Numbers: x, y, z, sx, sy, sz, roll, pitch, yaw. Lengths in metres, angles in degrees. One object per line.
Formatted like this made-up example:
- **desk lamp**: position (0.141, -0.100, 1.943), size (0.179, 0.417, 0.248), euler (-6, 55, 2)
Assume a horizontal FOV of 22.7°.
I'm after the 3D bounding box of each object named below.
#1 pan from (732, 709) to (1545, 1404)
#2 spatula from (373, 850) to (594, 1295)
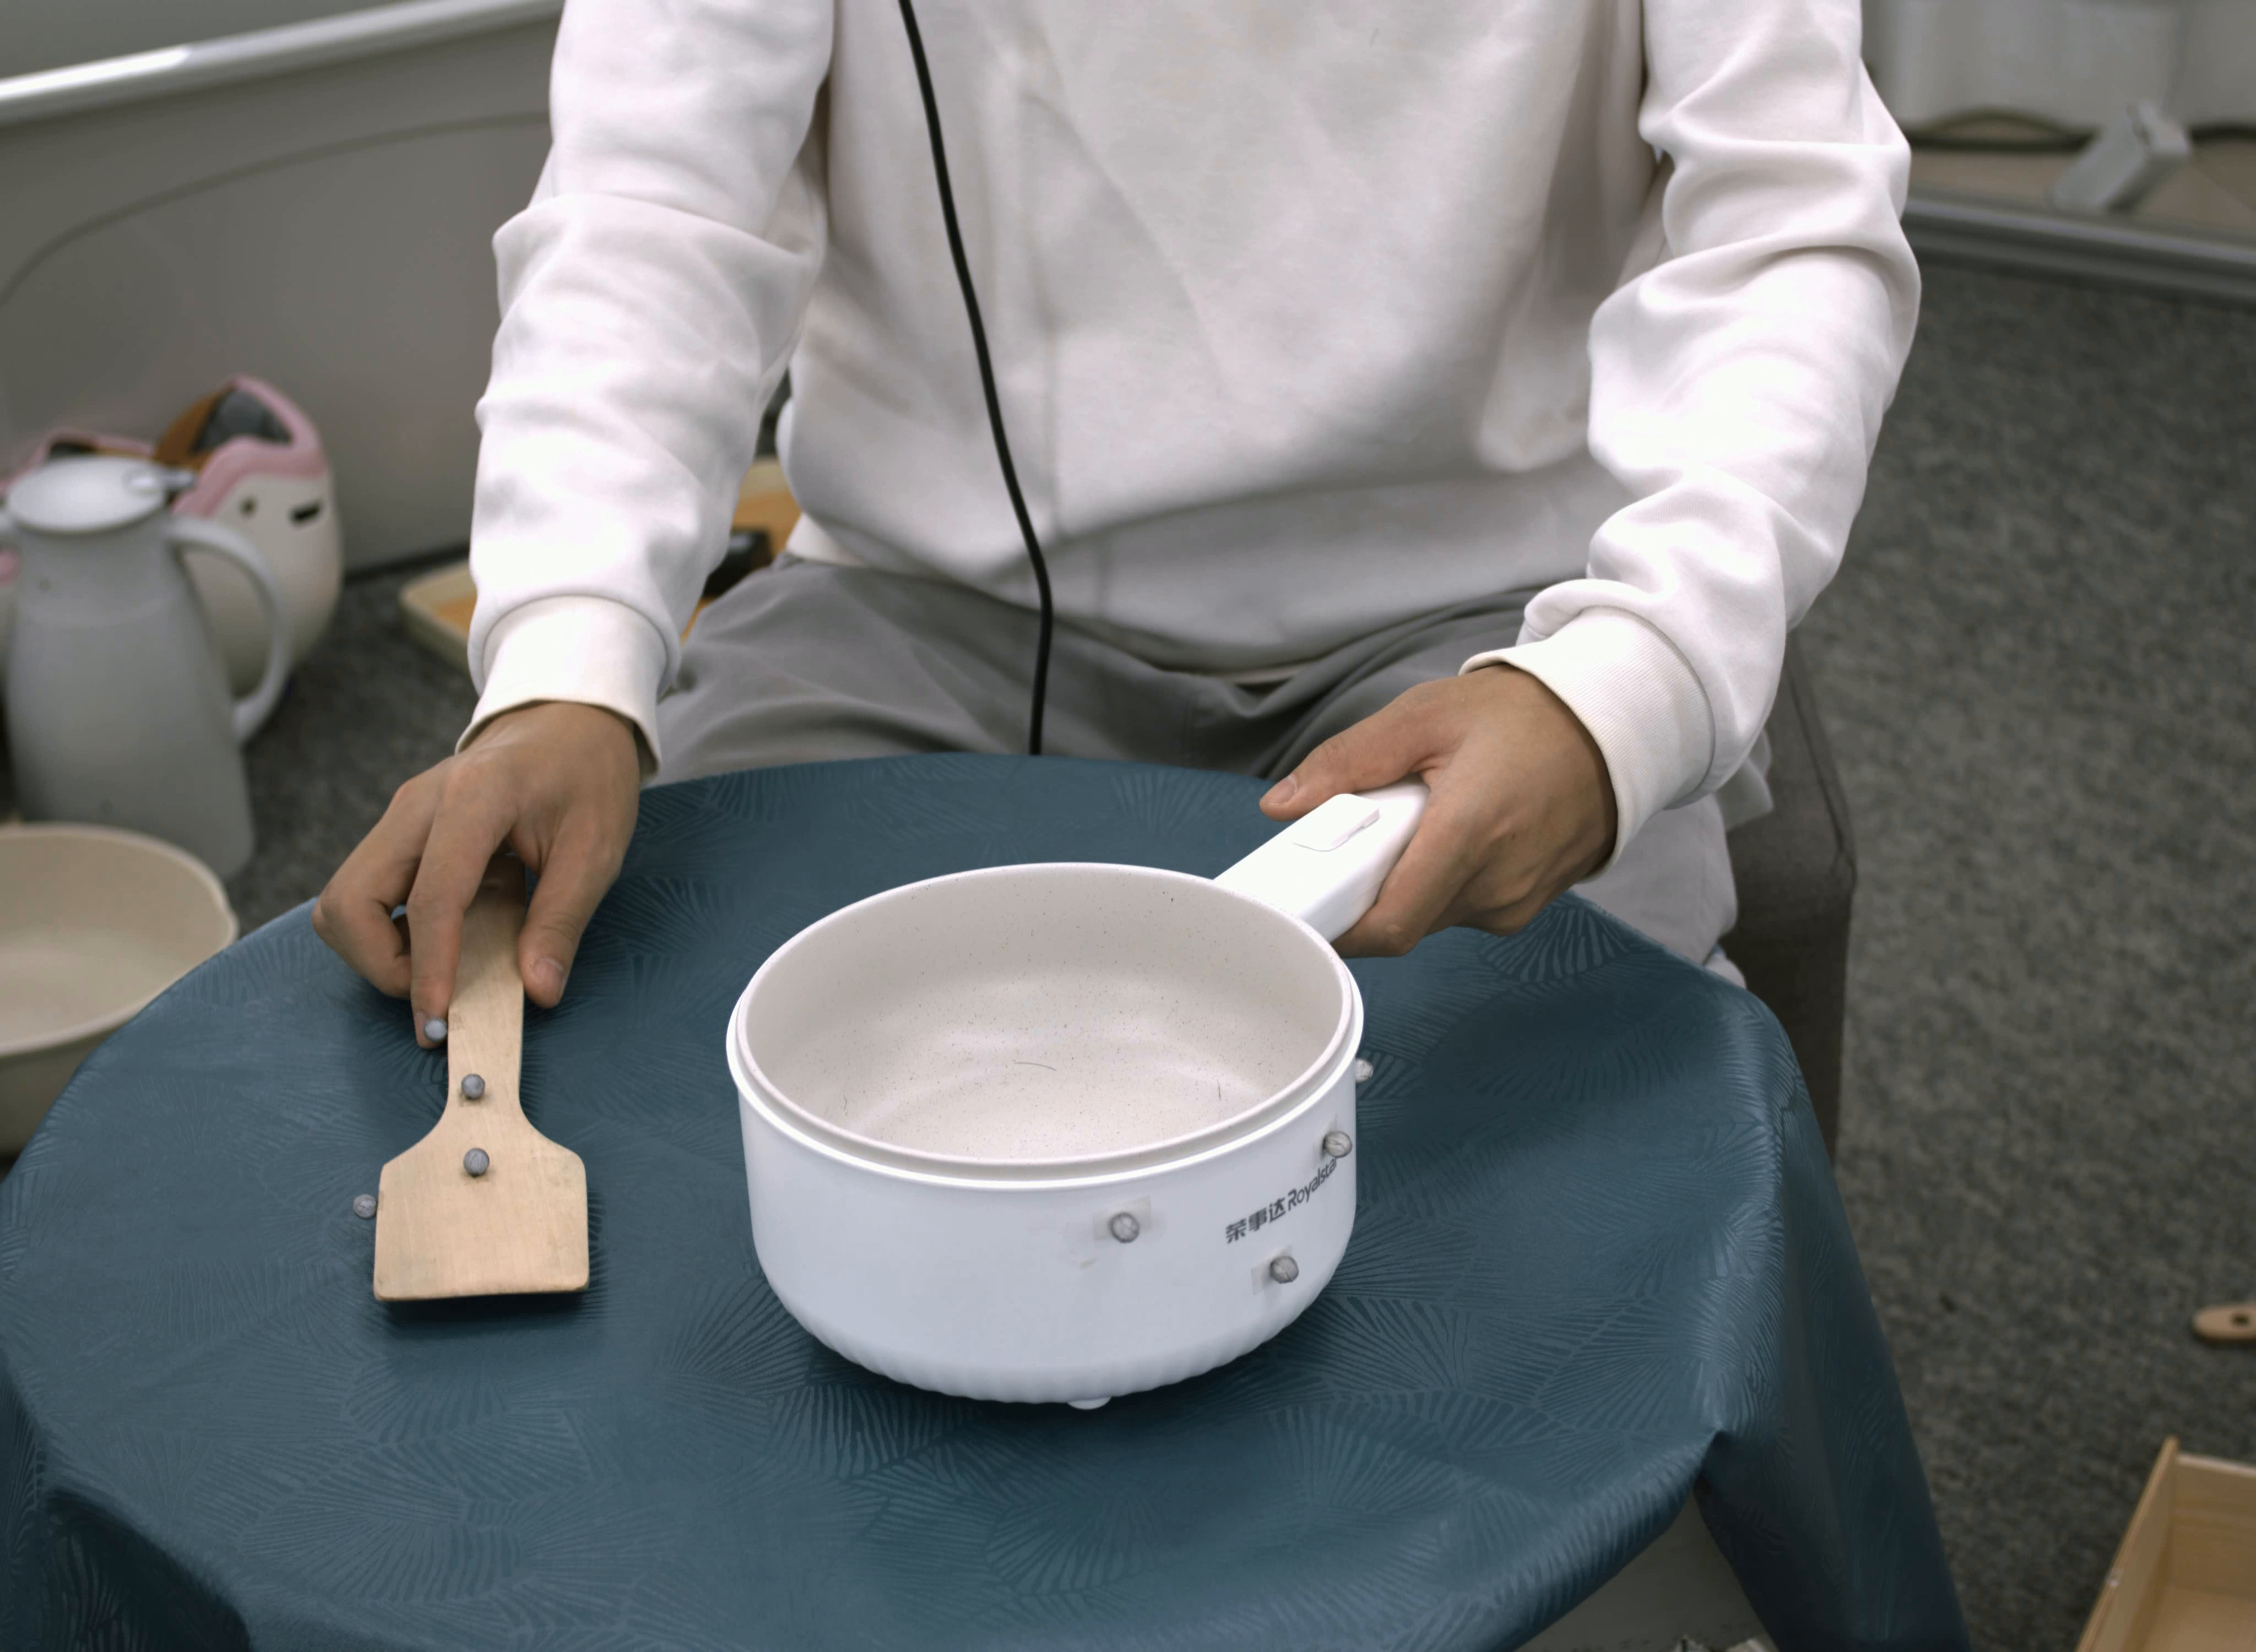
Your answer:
- **pan**: position (0.022, 0.070, 1.844), size (0.200, 0.101, 0.360), euler (17, 32, 33)
- **spatula**: position (-0.221, 0.082, 1.935), size (0.072, 0.010, 0.297), euler (-3, 29, -5)
